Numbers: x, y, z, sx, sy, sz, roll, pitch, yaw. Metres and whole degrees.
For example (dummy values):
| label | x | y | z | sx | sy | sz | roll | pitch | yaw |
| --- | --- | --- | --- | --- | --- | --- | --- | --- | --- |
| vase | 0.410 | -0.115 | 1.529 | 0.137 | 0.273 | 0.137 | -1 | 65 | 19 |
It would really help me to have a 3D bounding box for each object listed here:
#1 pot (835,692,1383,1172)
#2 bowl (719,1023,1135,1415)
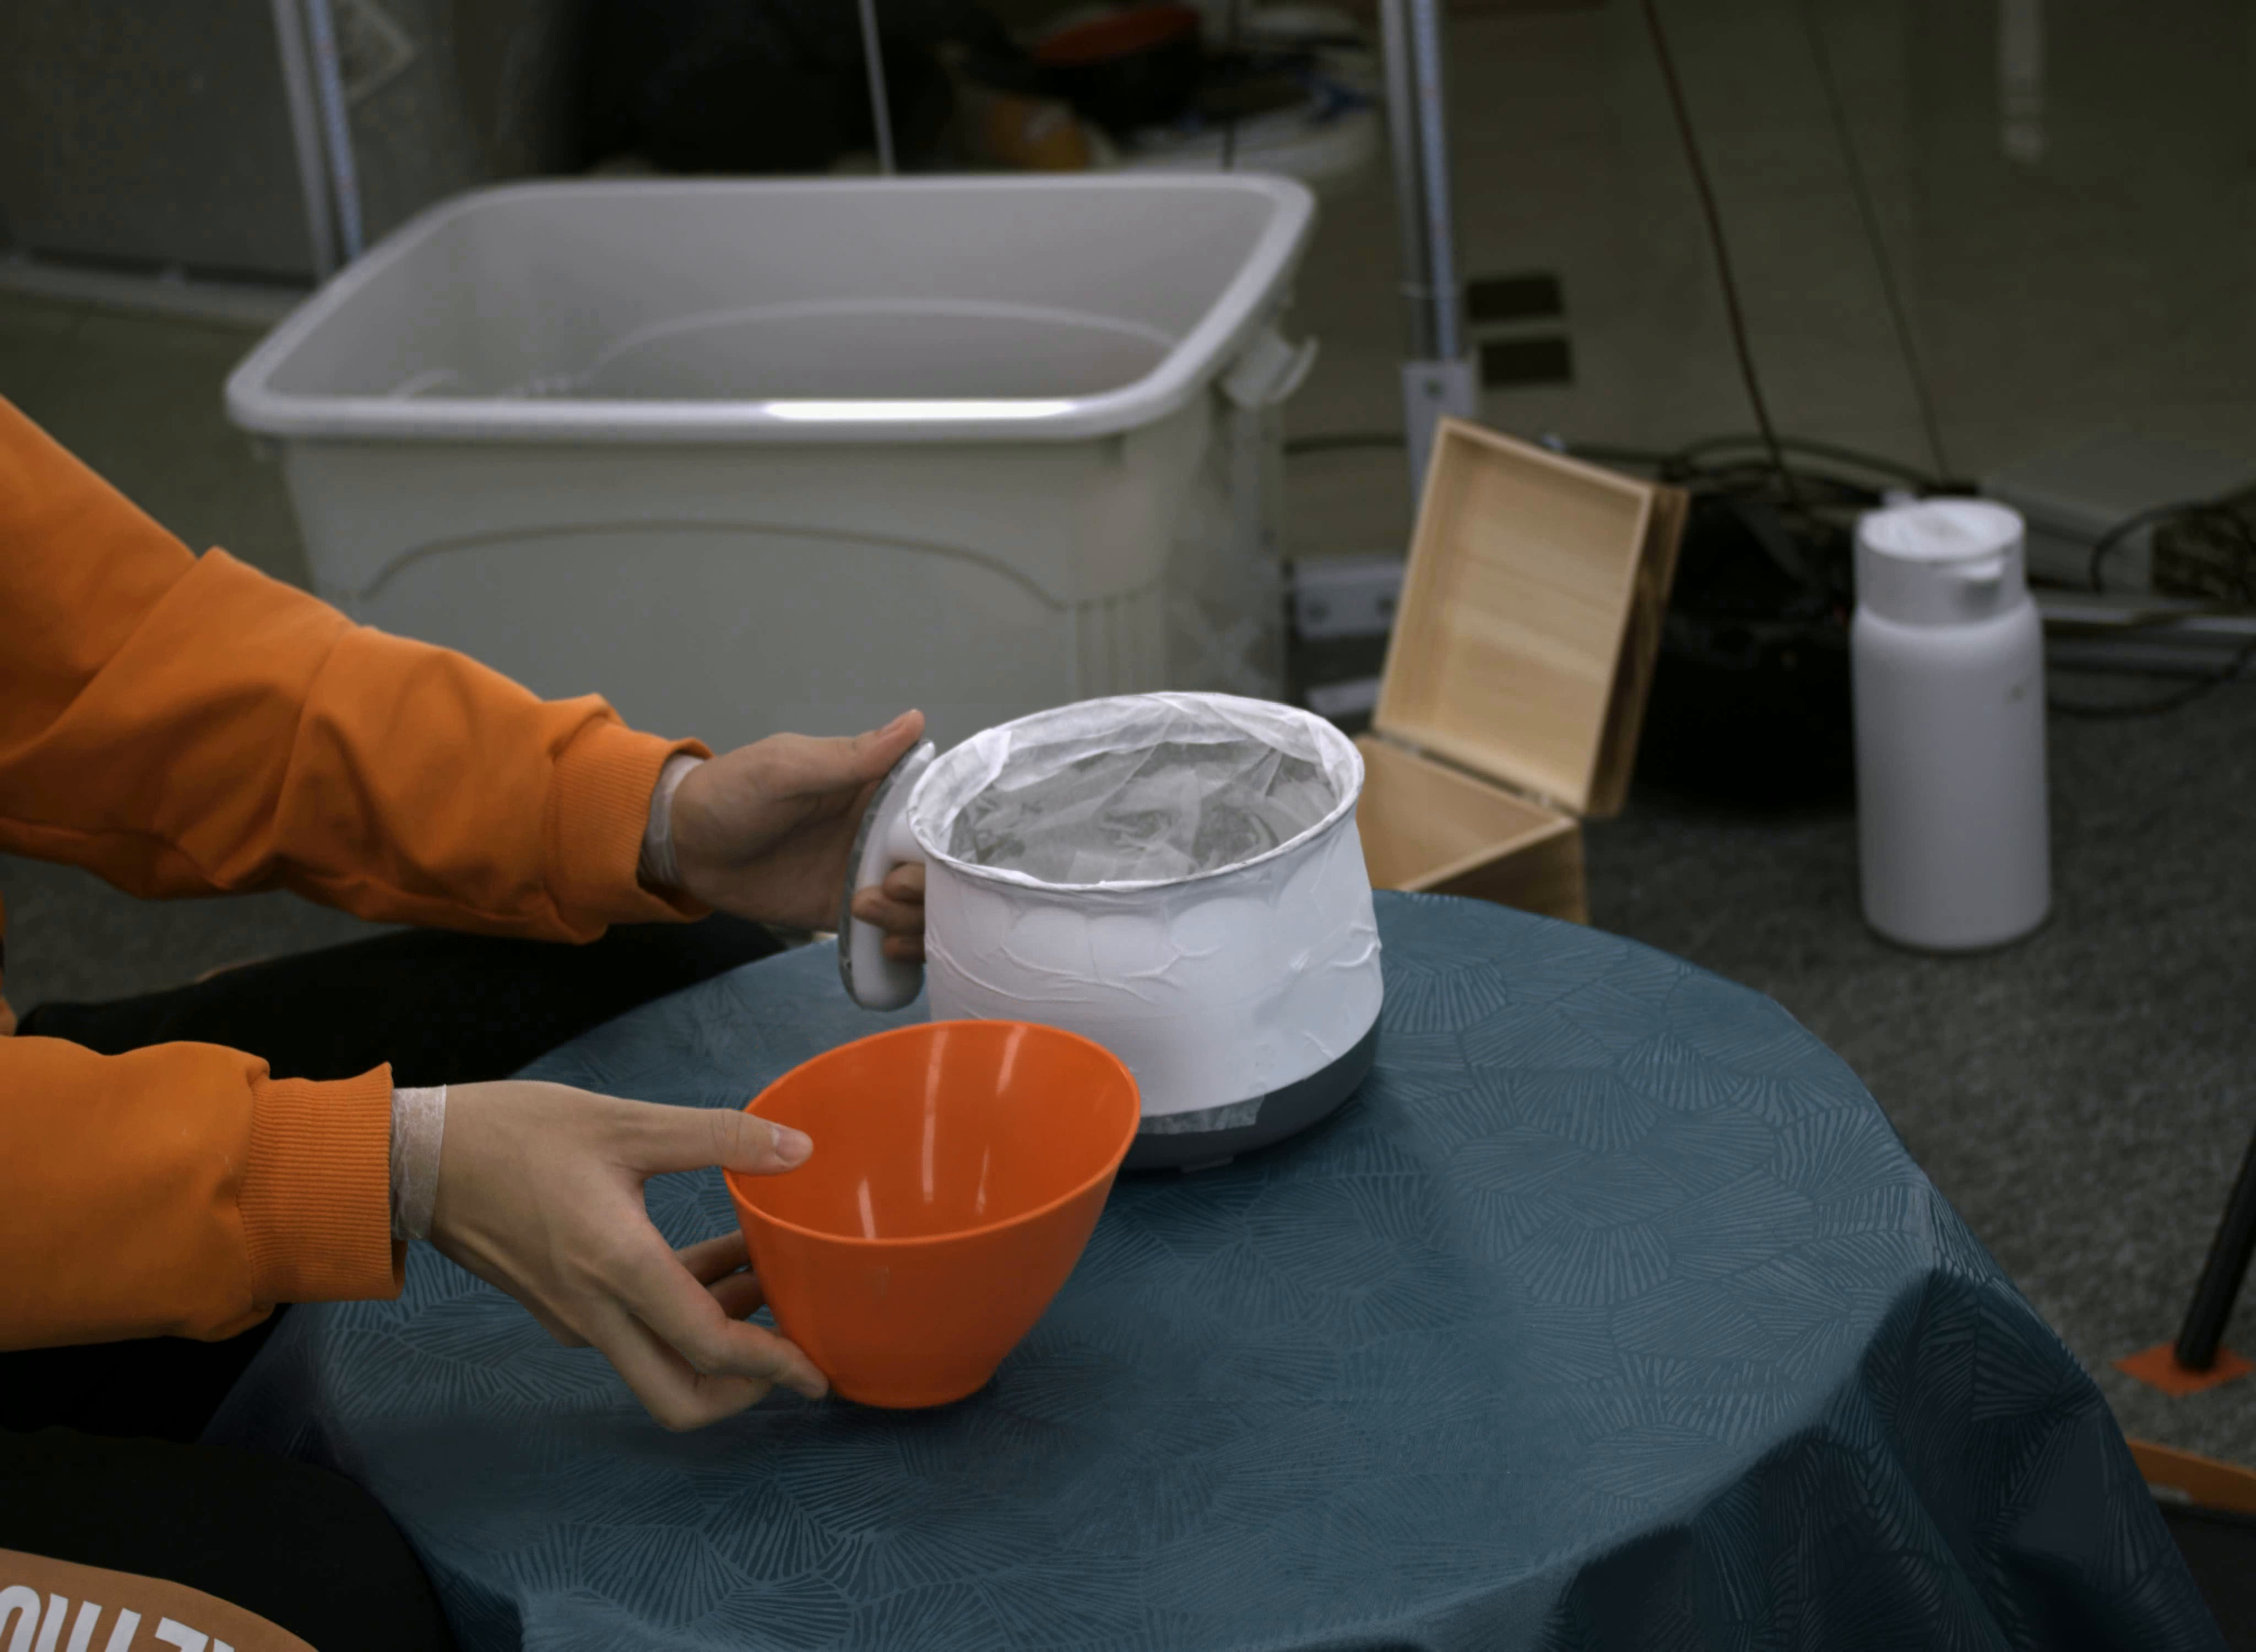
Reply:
| label | x | y | z | sx | sy | sz | roll | pitch | yaw |
| --- | --- | --- | --- | --- | --- | --- | --- | --- | --- |
| pot | -0.015 | 0.038 | 2.201 | 0.232 | 0.139 | 0.176 | 9 | 29 | 29 |
| bowl | -0.070 | 0.145 | 2.013 | 0.148 | 0.106 | 0.146 | -1 | 25 | 0 |
